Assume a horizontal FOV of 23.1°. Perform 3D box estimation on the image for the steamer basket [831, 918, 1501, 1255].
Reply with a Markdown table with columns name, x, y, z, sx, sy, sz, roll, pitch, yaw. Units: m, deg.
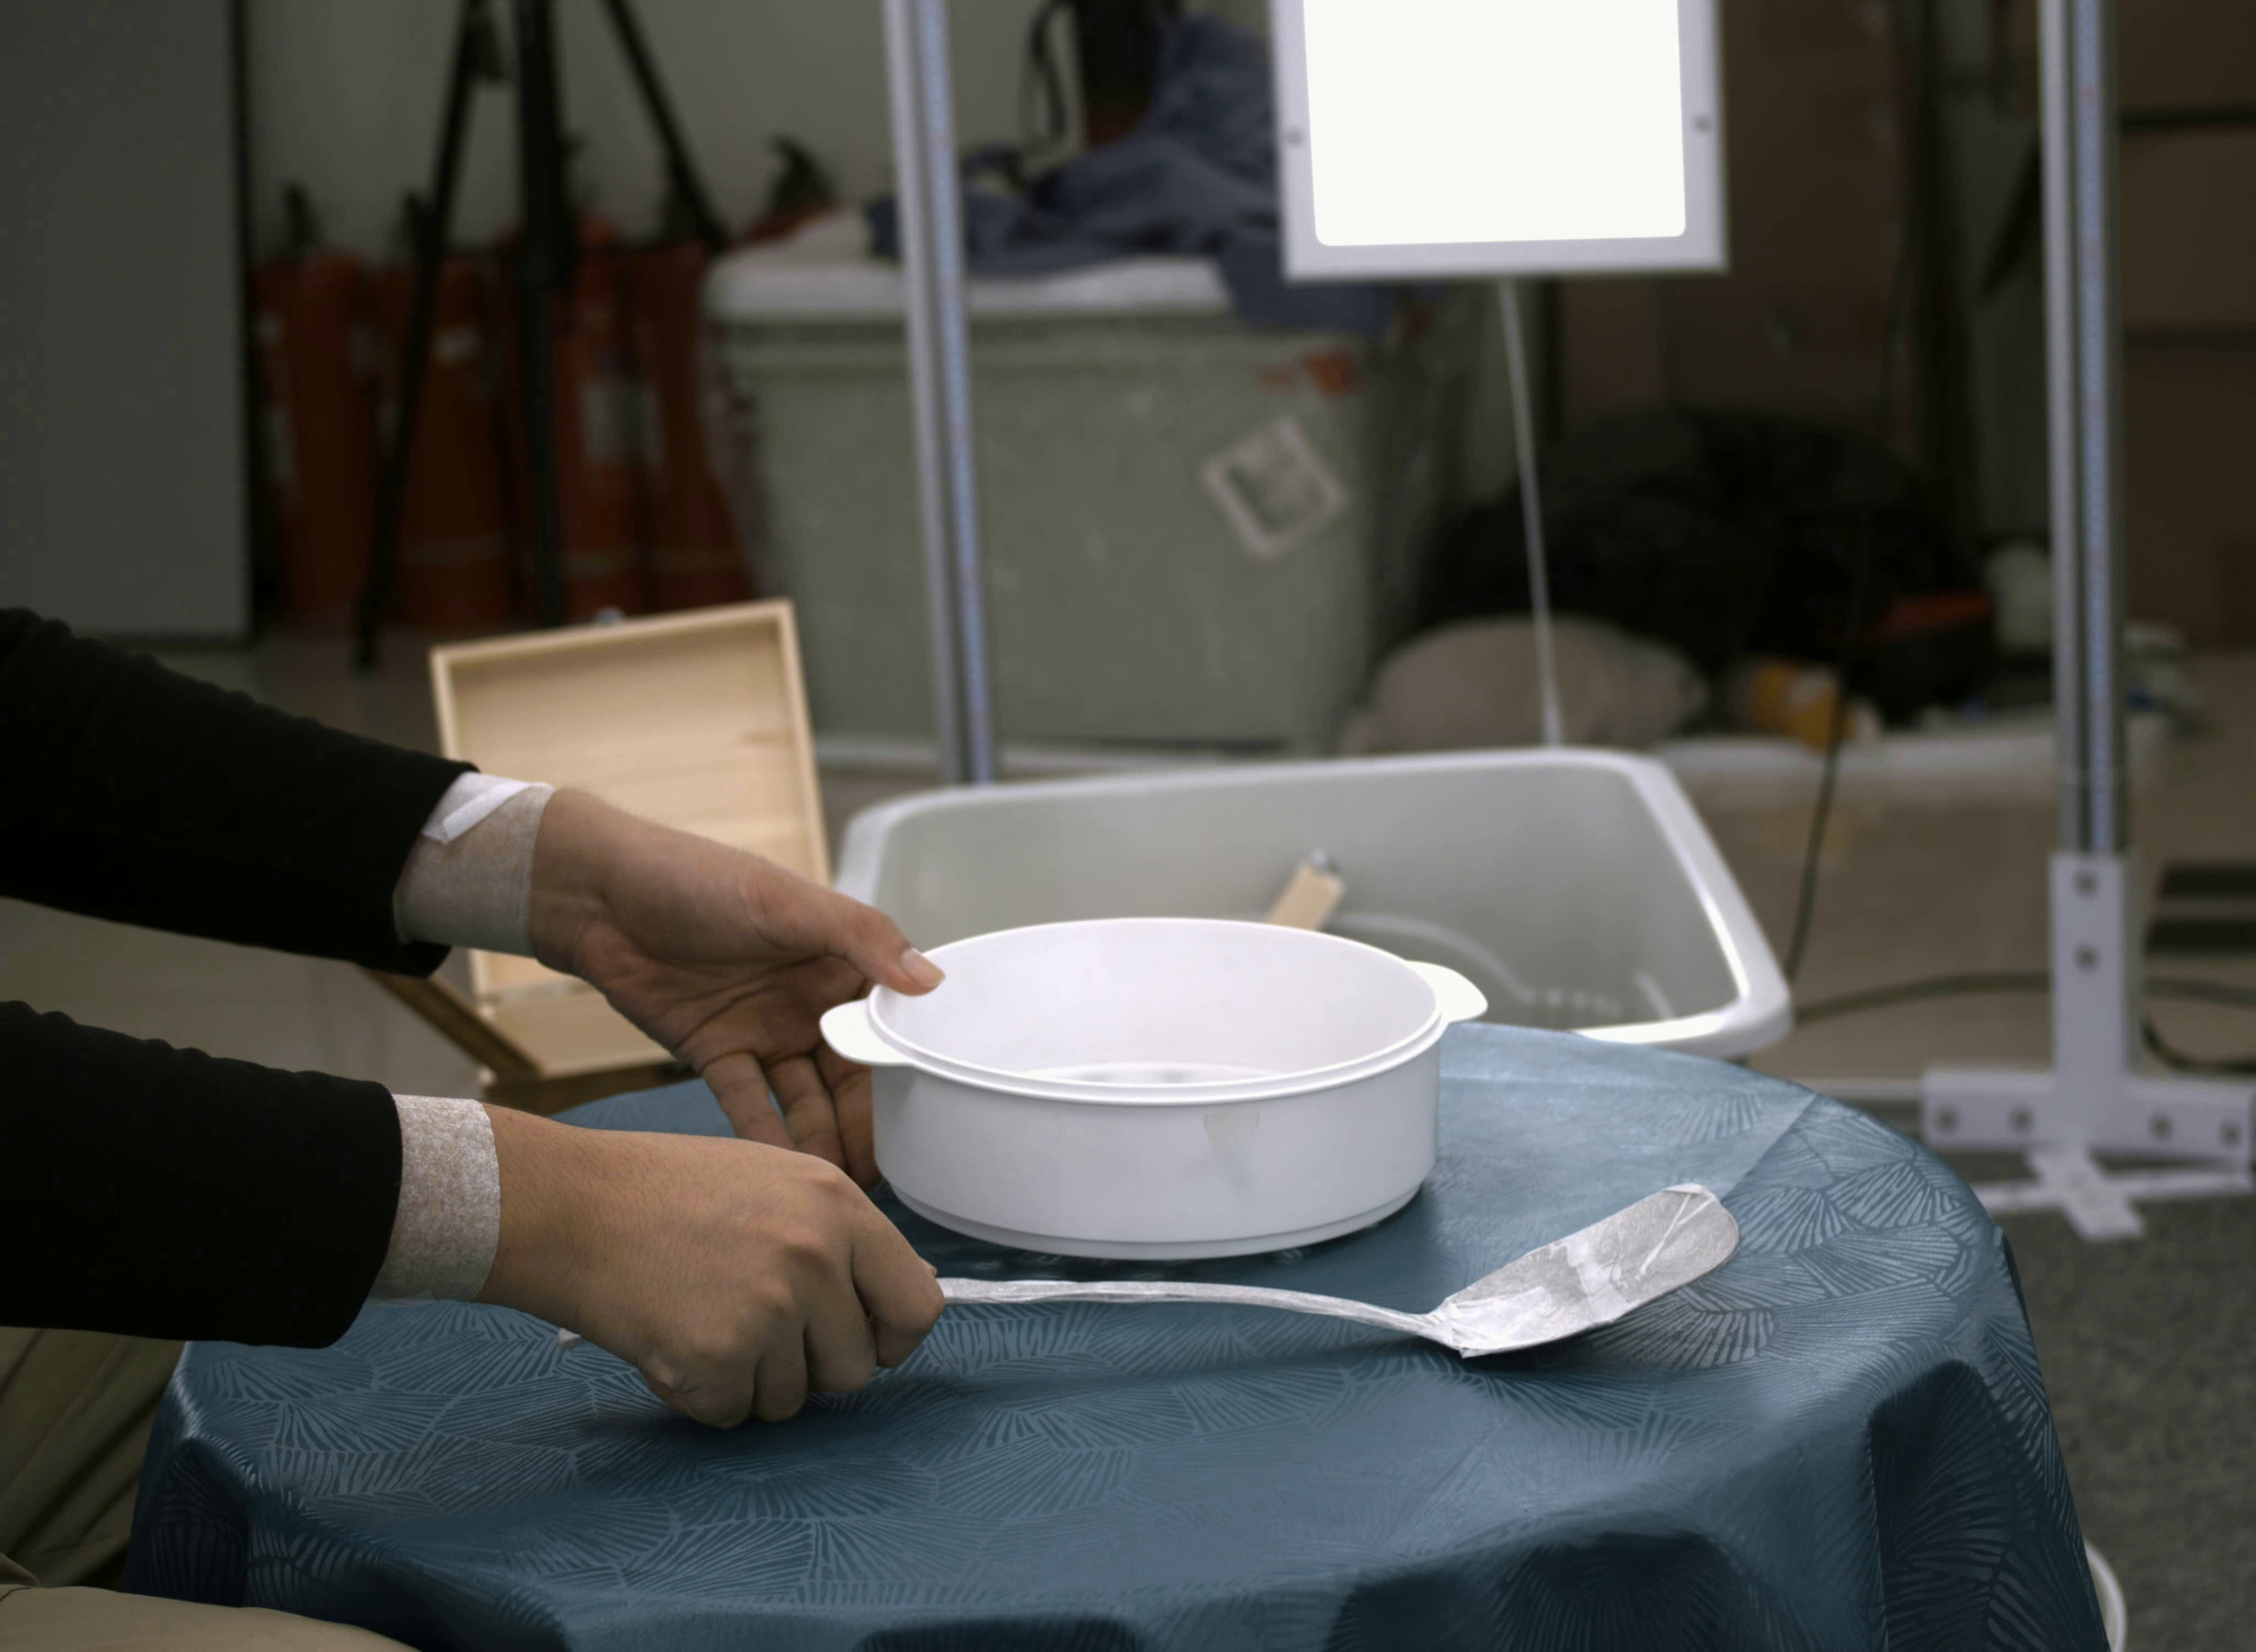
| name | x | y | z | sx | sy | sz | roll | pitch | yaw |
| --- | --- | --- | --- | --- | --- | --- | --- | --- | --- |
| steamer basket | 0.014 | 0.089 | 1.882 | 0.228 | 0.069 | 0.203 | -5 | 15 | -11 |

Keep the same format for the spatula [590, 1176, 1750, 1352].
| name | x | y | z | sx | sy | sz | roll | pitch | yaw |
| --- | --- | --- | --- | --- | --- | --- | --- | --- | --- |
| spatula | 0.012 | 0.141 | 1.721 | 0.364 | 0.045 | 0.098 | 0 | 14 | 1 |
